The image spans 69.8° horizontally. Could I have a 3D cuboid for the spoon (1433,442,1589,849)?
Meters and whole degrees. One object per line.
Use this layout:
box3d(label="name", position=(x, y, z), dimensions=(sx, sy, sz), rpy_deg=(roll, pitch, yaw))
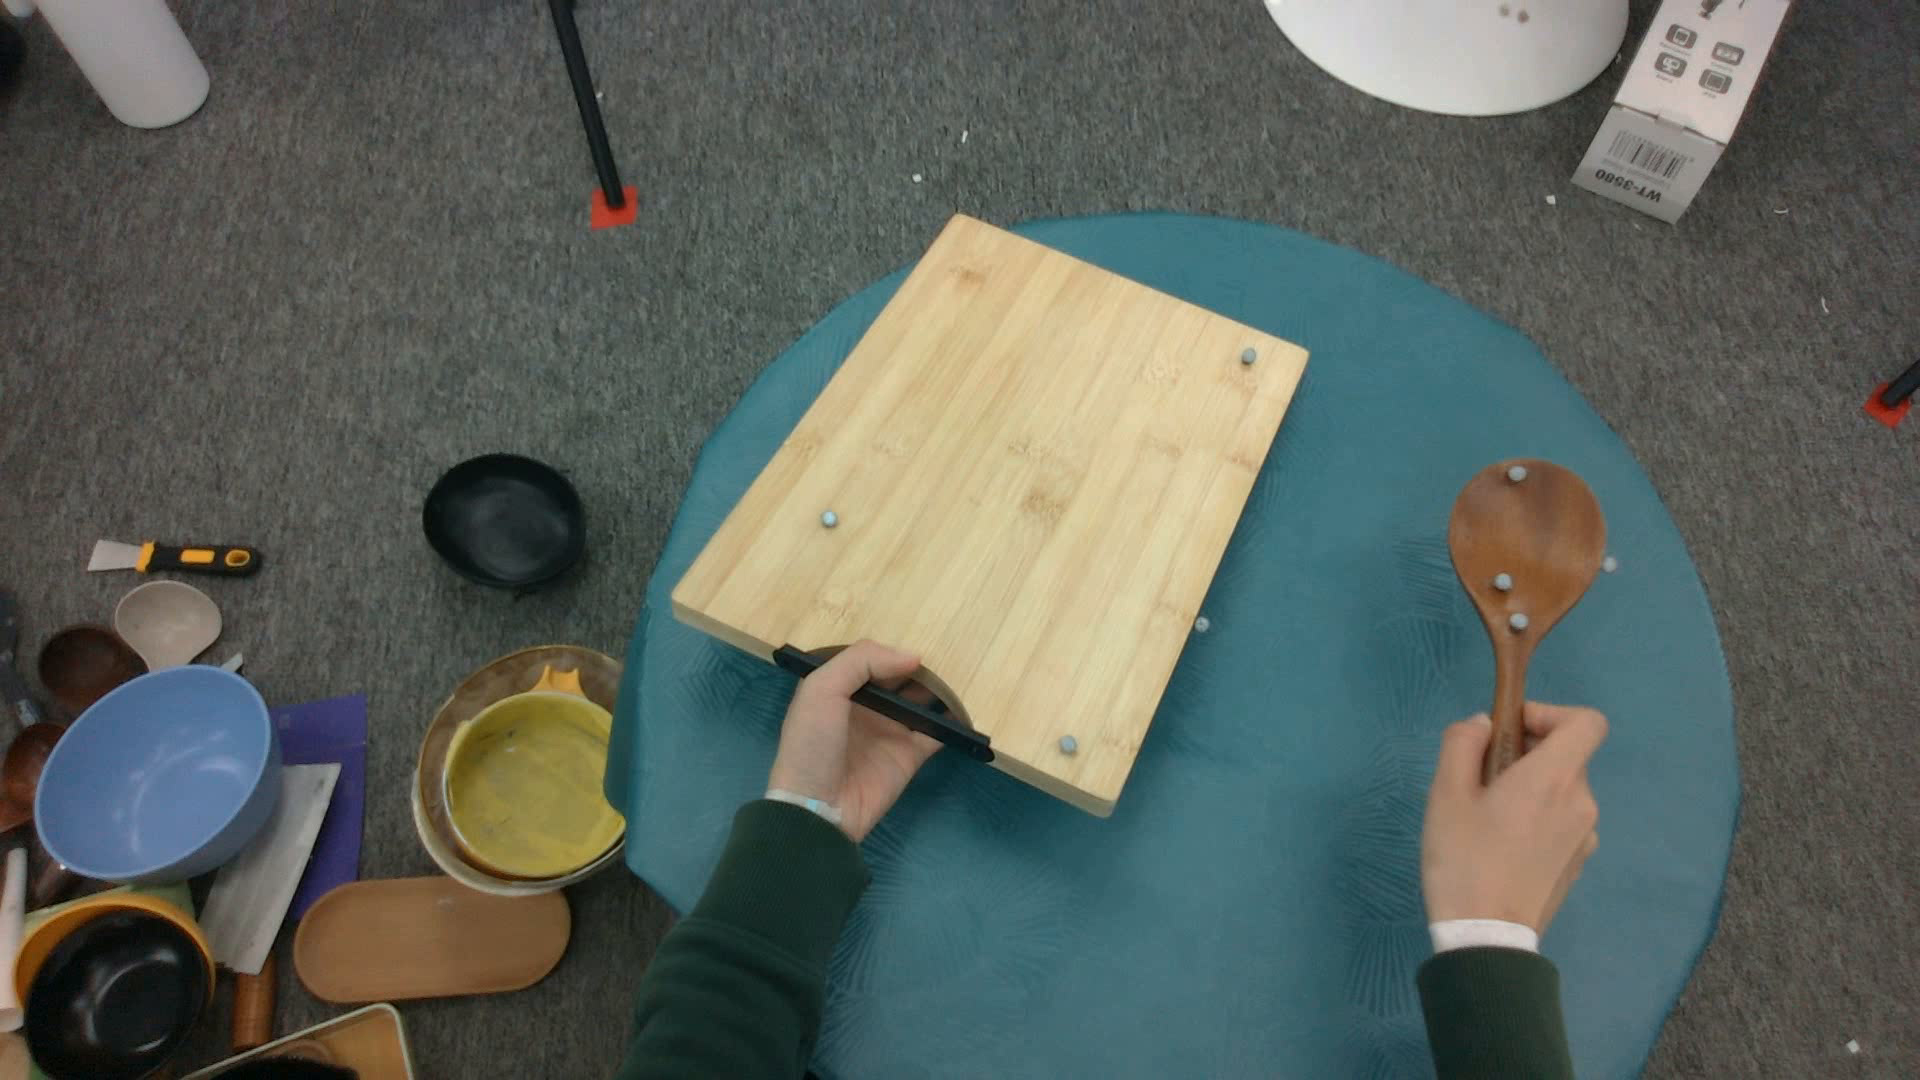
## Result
box3d(label="spoon", position=(0.263, 0.046, 0.672), dimensions=(0.075, 0.017, 0.217), rpy_deg=(9, 63, 14))

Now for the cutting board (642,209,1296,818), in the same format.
box3d(label="cutting board", position=(0.024, -0.039, 0.760), dimensions=(0.250, 0.023, 0.350), rpy_deg=(22, 53, 9))
